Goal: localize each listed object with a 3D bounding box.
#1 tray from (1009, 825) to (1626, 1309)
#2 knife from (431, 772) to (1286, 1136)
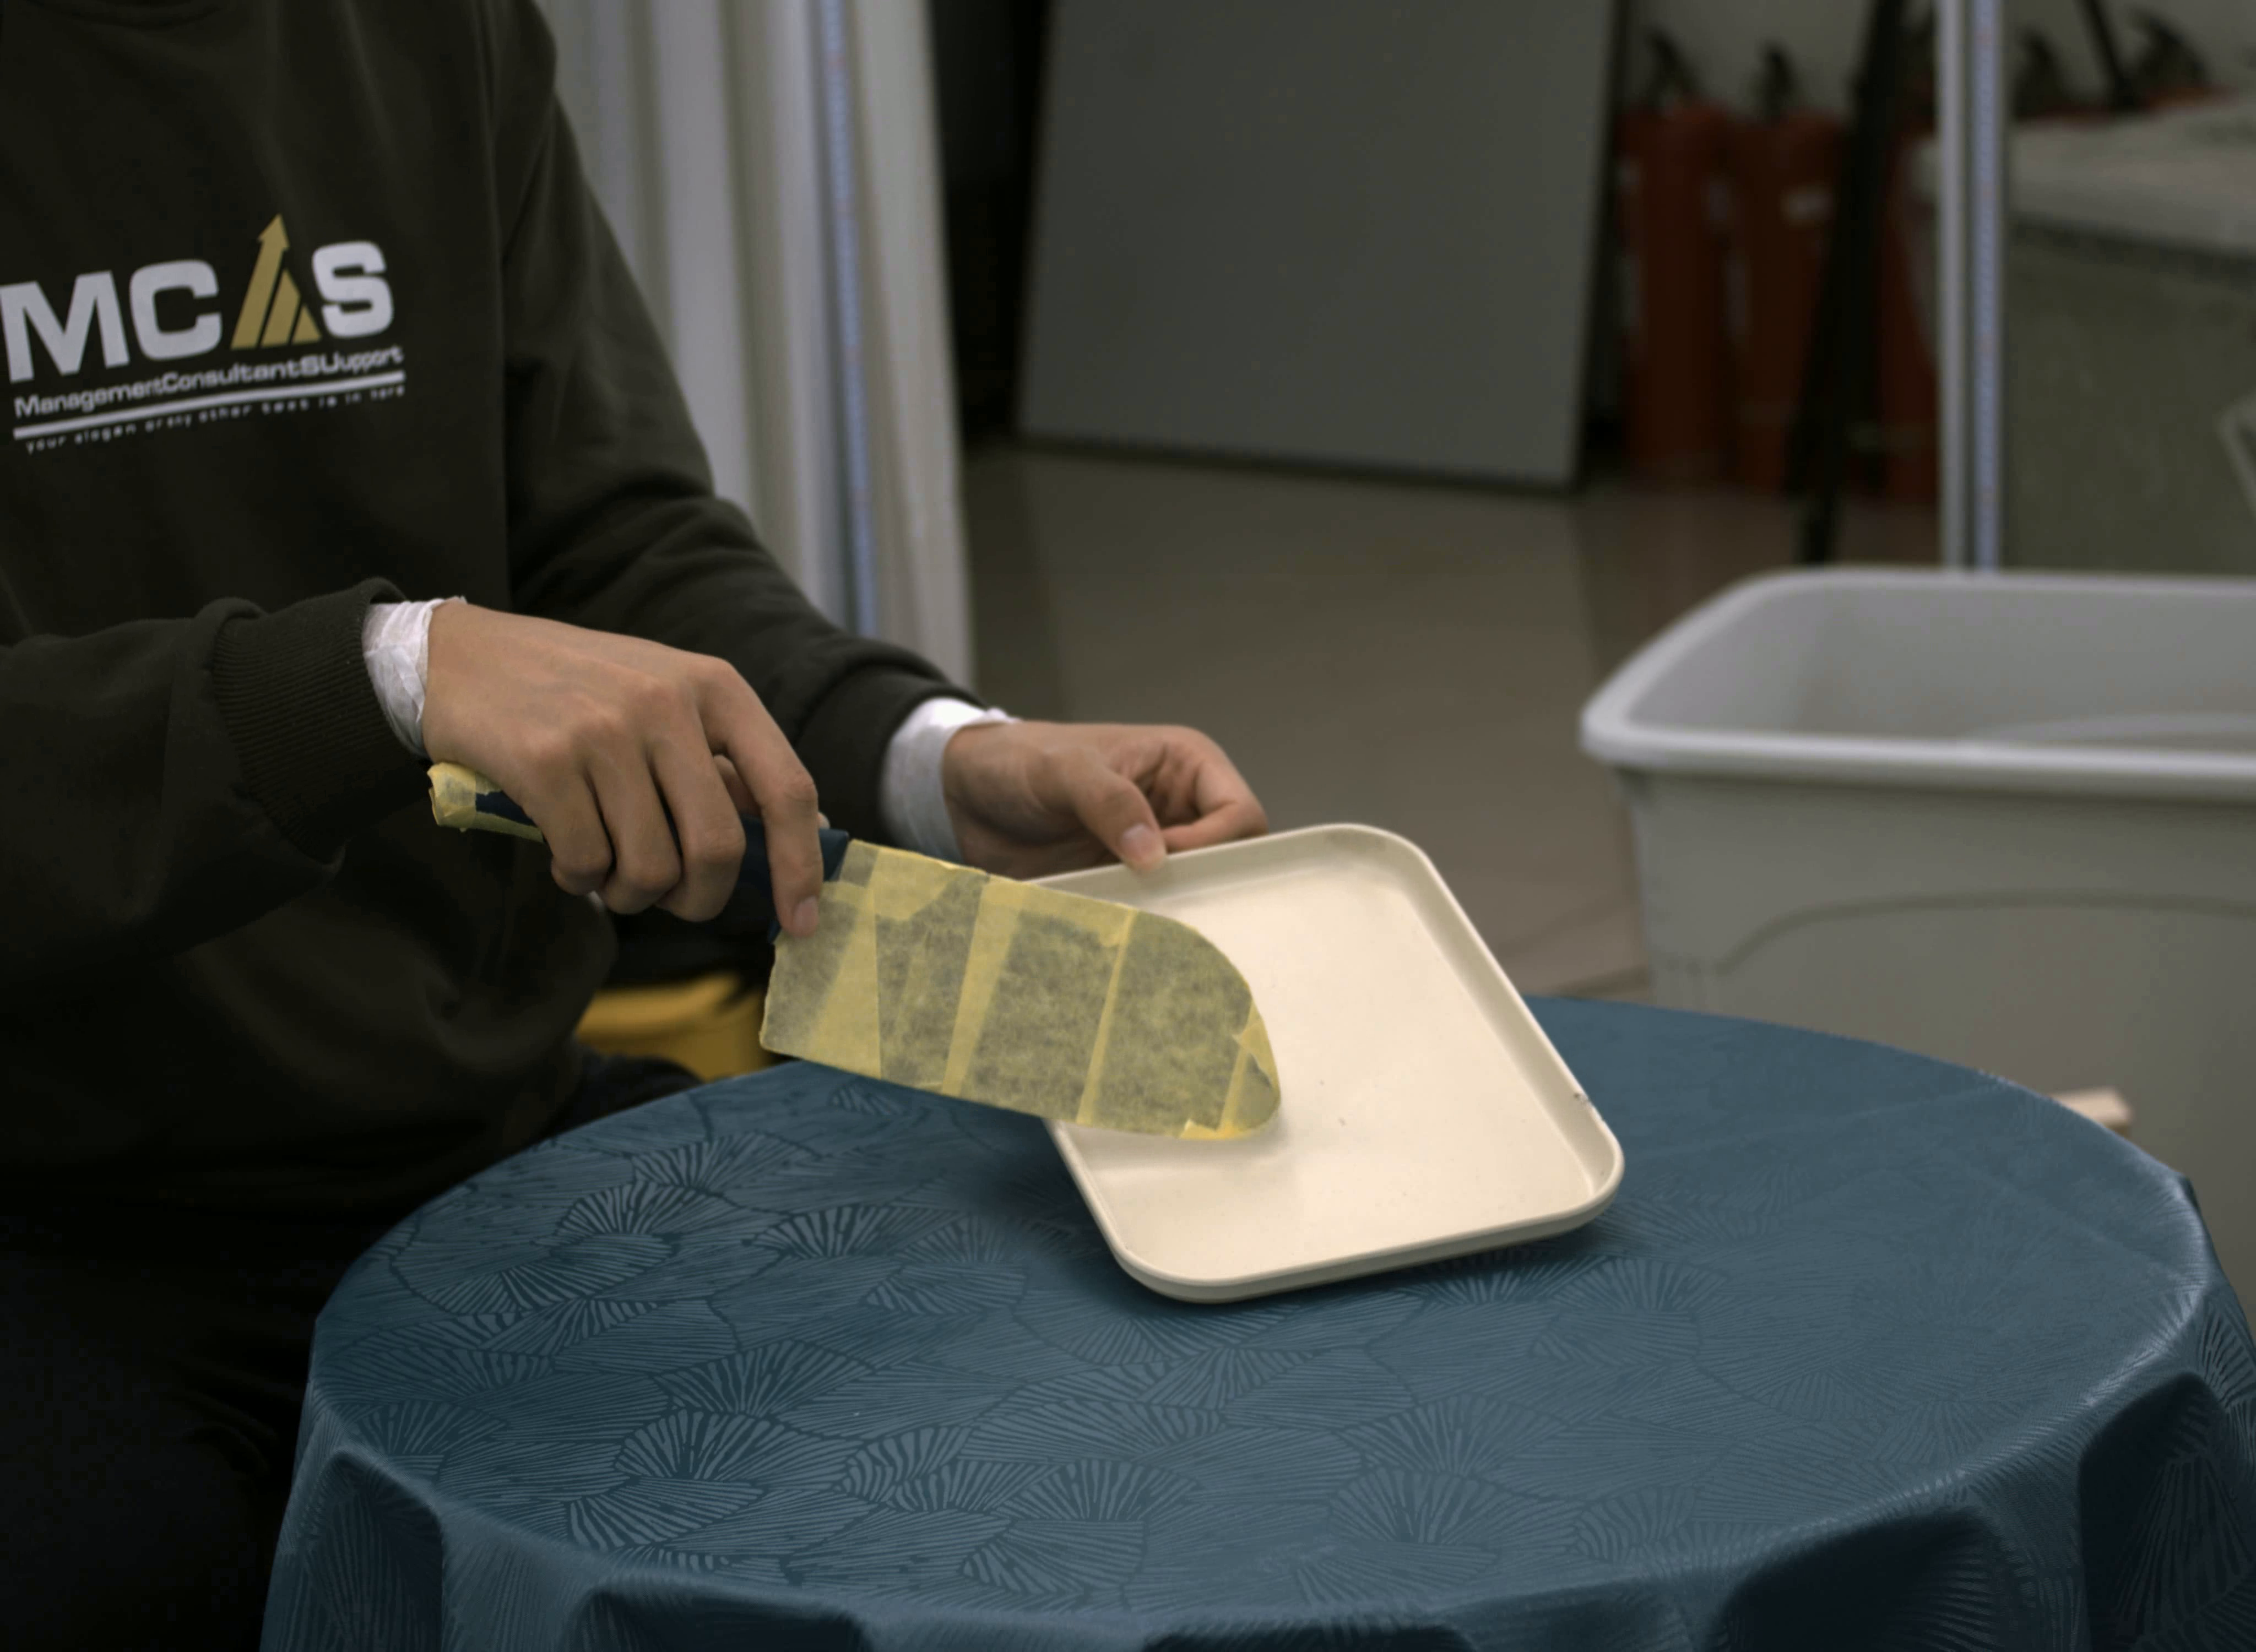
[{"bbox_3d":[0.050,0.076,1.758,0.168,0.017,0.242,-11,33,-13],"label":"tray"},{"bbox_3d":[-0.086,0.040,1.712,0.286,0.082,0.027,17,-8,-2],"label":"knife"}]
